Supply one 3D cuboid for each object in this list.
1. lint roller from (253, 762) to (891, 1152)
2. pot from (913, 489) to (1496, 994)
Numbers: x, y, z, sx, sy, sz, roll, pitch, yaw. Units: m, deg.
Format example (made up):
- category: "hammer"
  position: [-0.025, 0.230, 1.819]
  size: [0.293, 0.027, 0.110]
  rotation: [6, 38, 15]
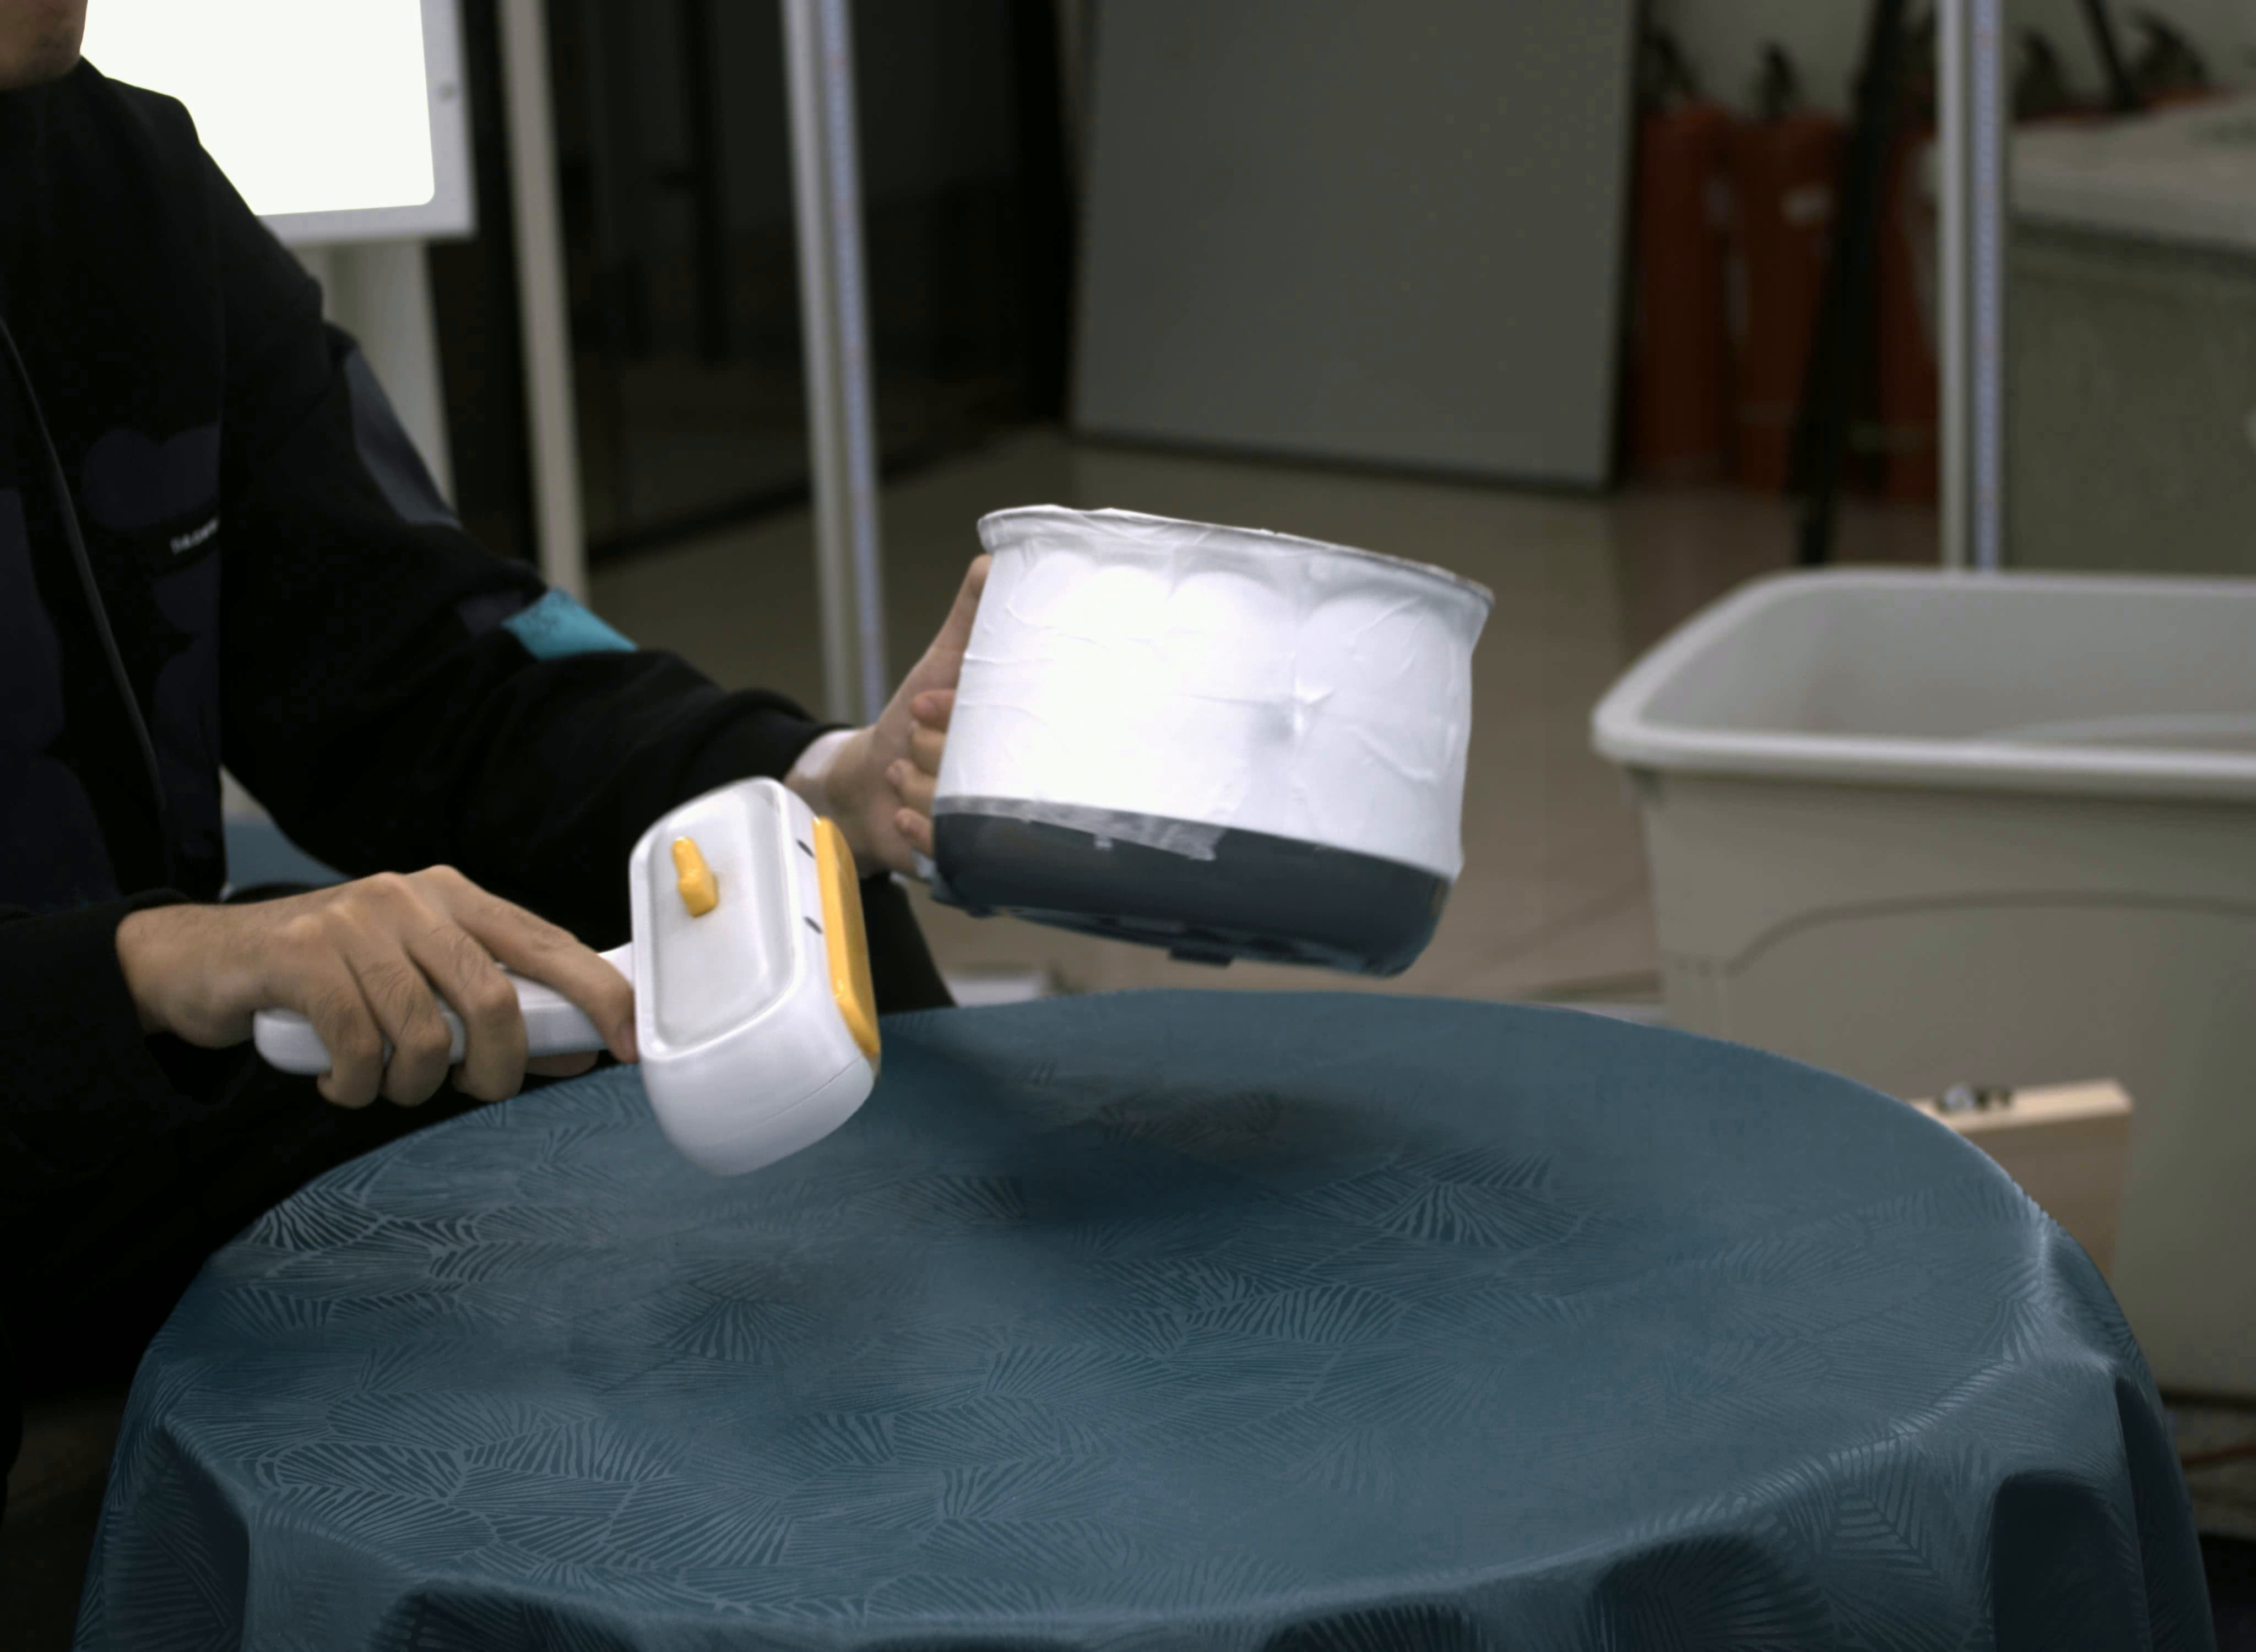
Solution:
- category: "lint roller"
  position: [-0.175, 0.052, 1.690]
  size: [0.190, 0.074, 0.194]
  rotation: [-18, 28, -2]
- category: "pot"
  position: [0.008, -0.027, 1.821]
  size: [0.175, 0.138, 0.236]
  rotation: [17, -8, -36]
